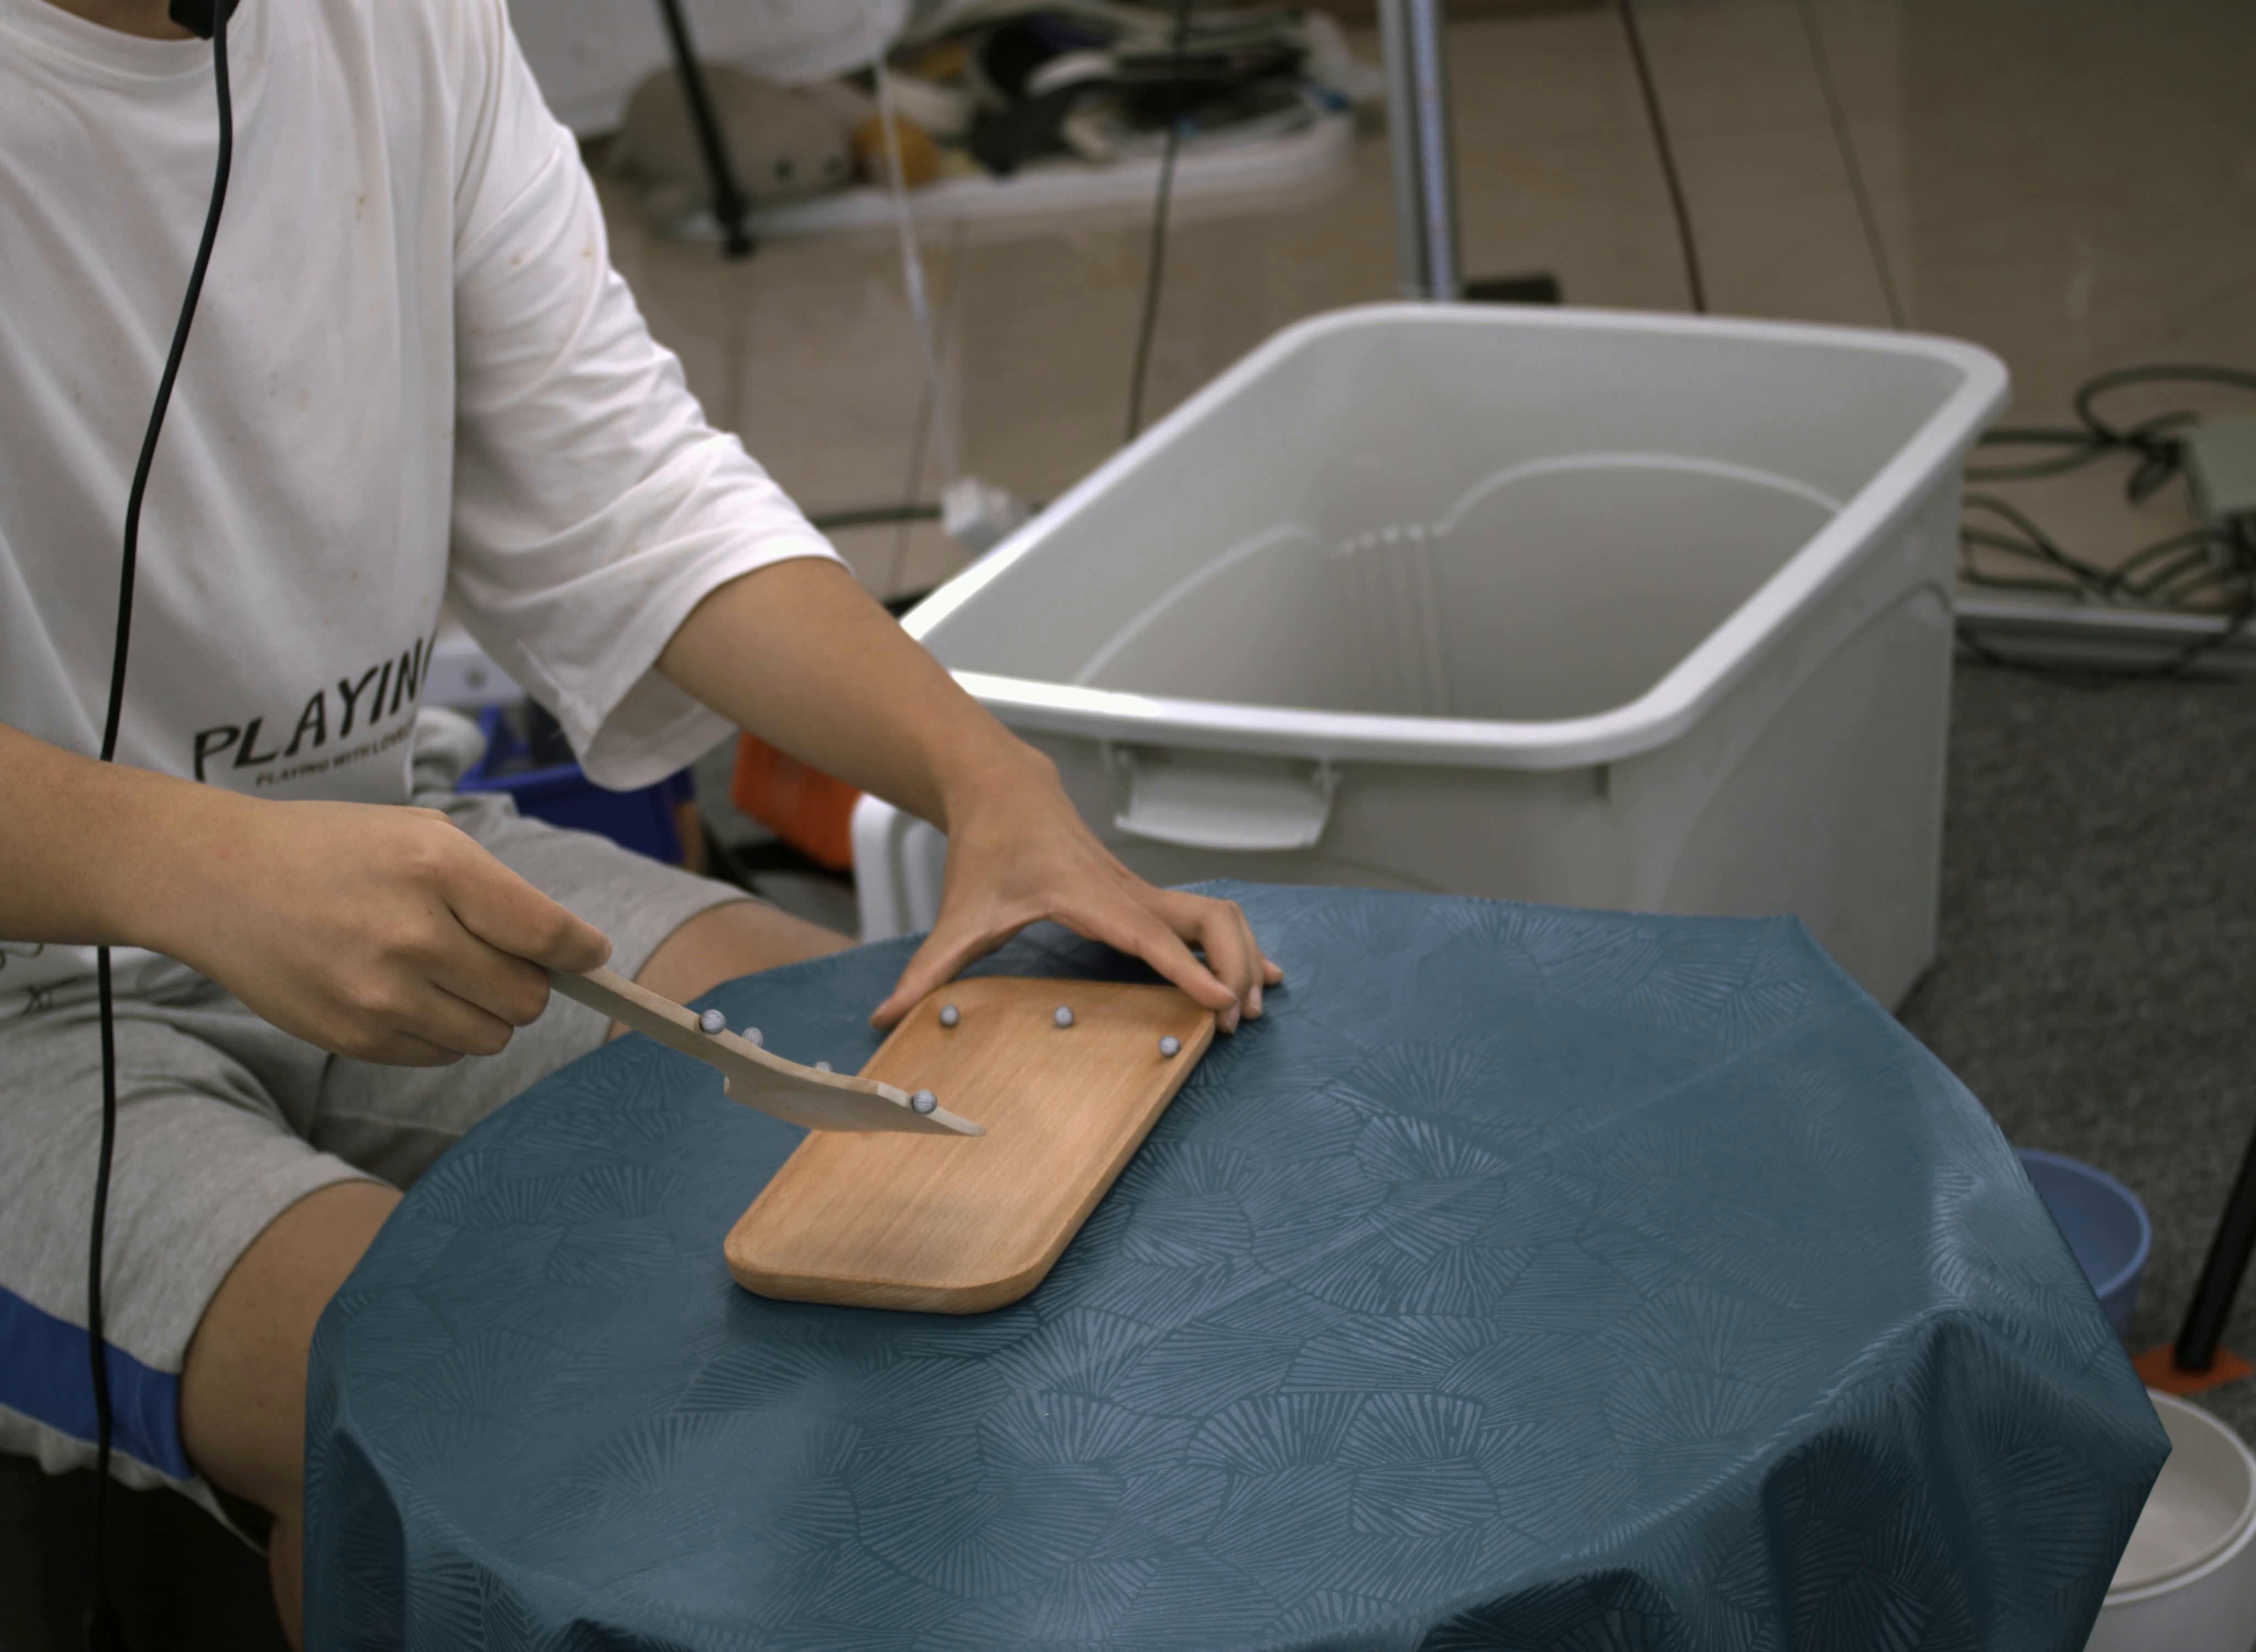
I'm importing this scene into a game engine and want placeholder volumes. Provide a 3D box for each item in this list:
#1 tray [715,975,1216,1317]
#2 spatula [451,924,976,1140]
[{"bbox_3d":[-0.059,0.121,2.183,0.130,0.023,0.247,1,27,23],"label":"tray"},{"bbox_3d":[-0.148,0.076,1.981,0.072,0.010,0.295,1,-16,28],"label":"spatula"}]
